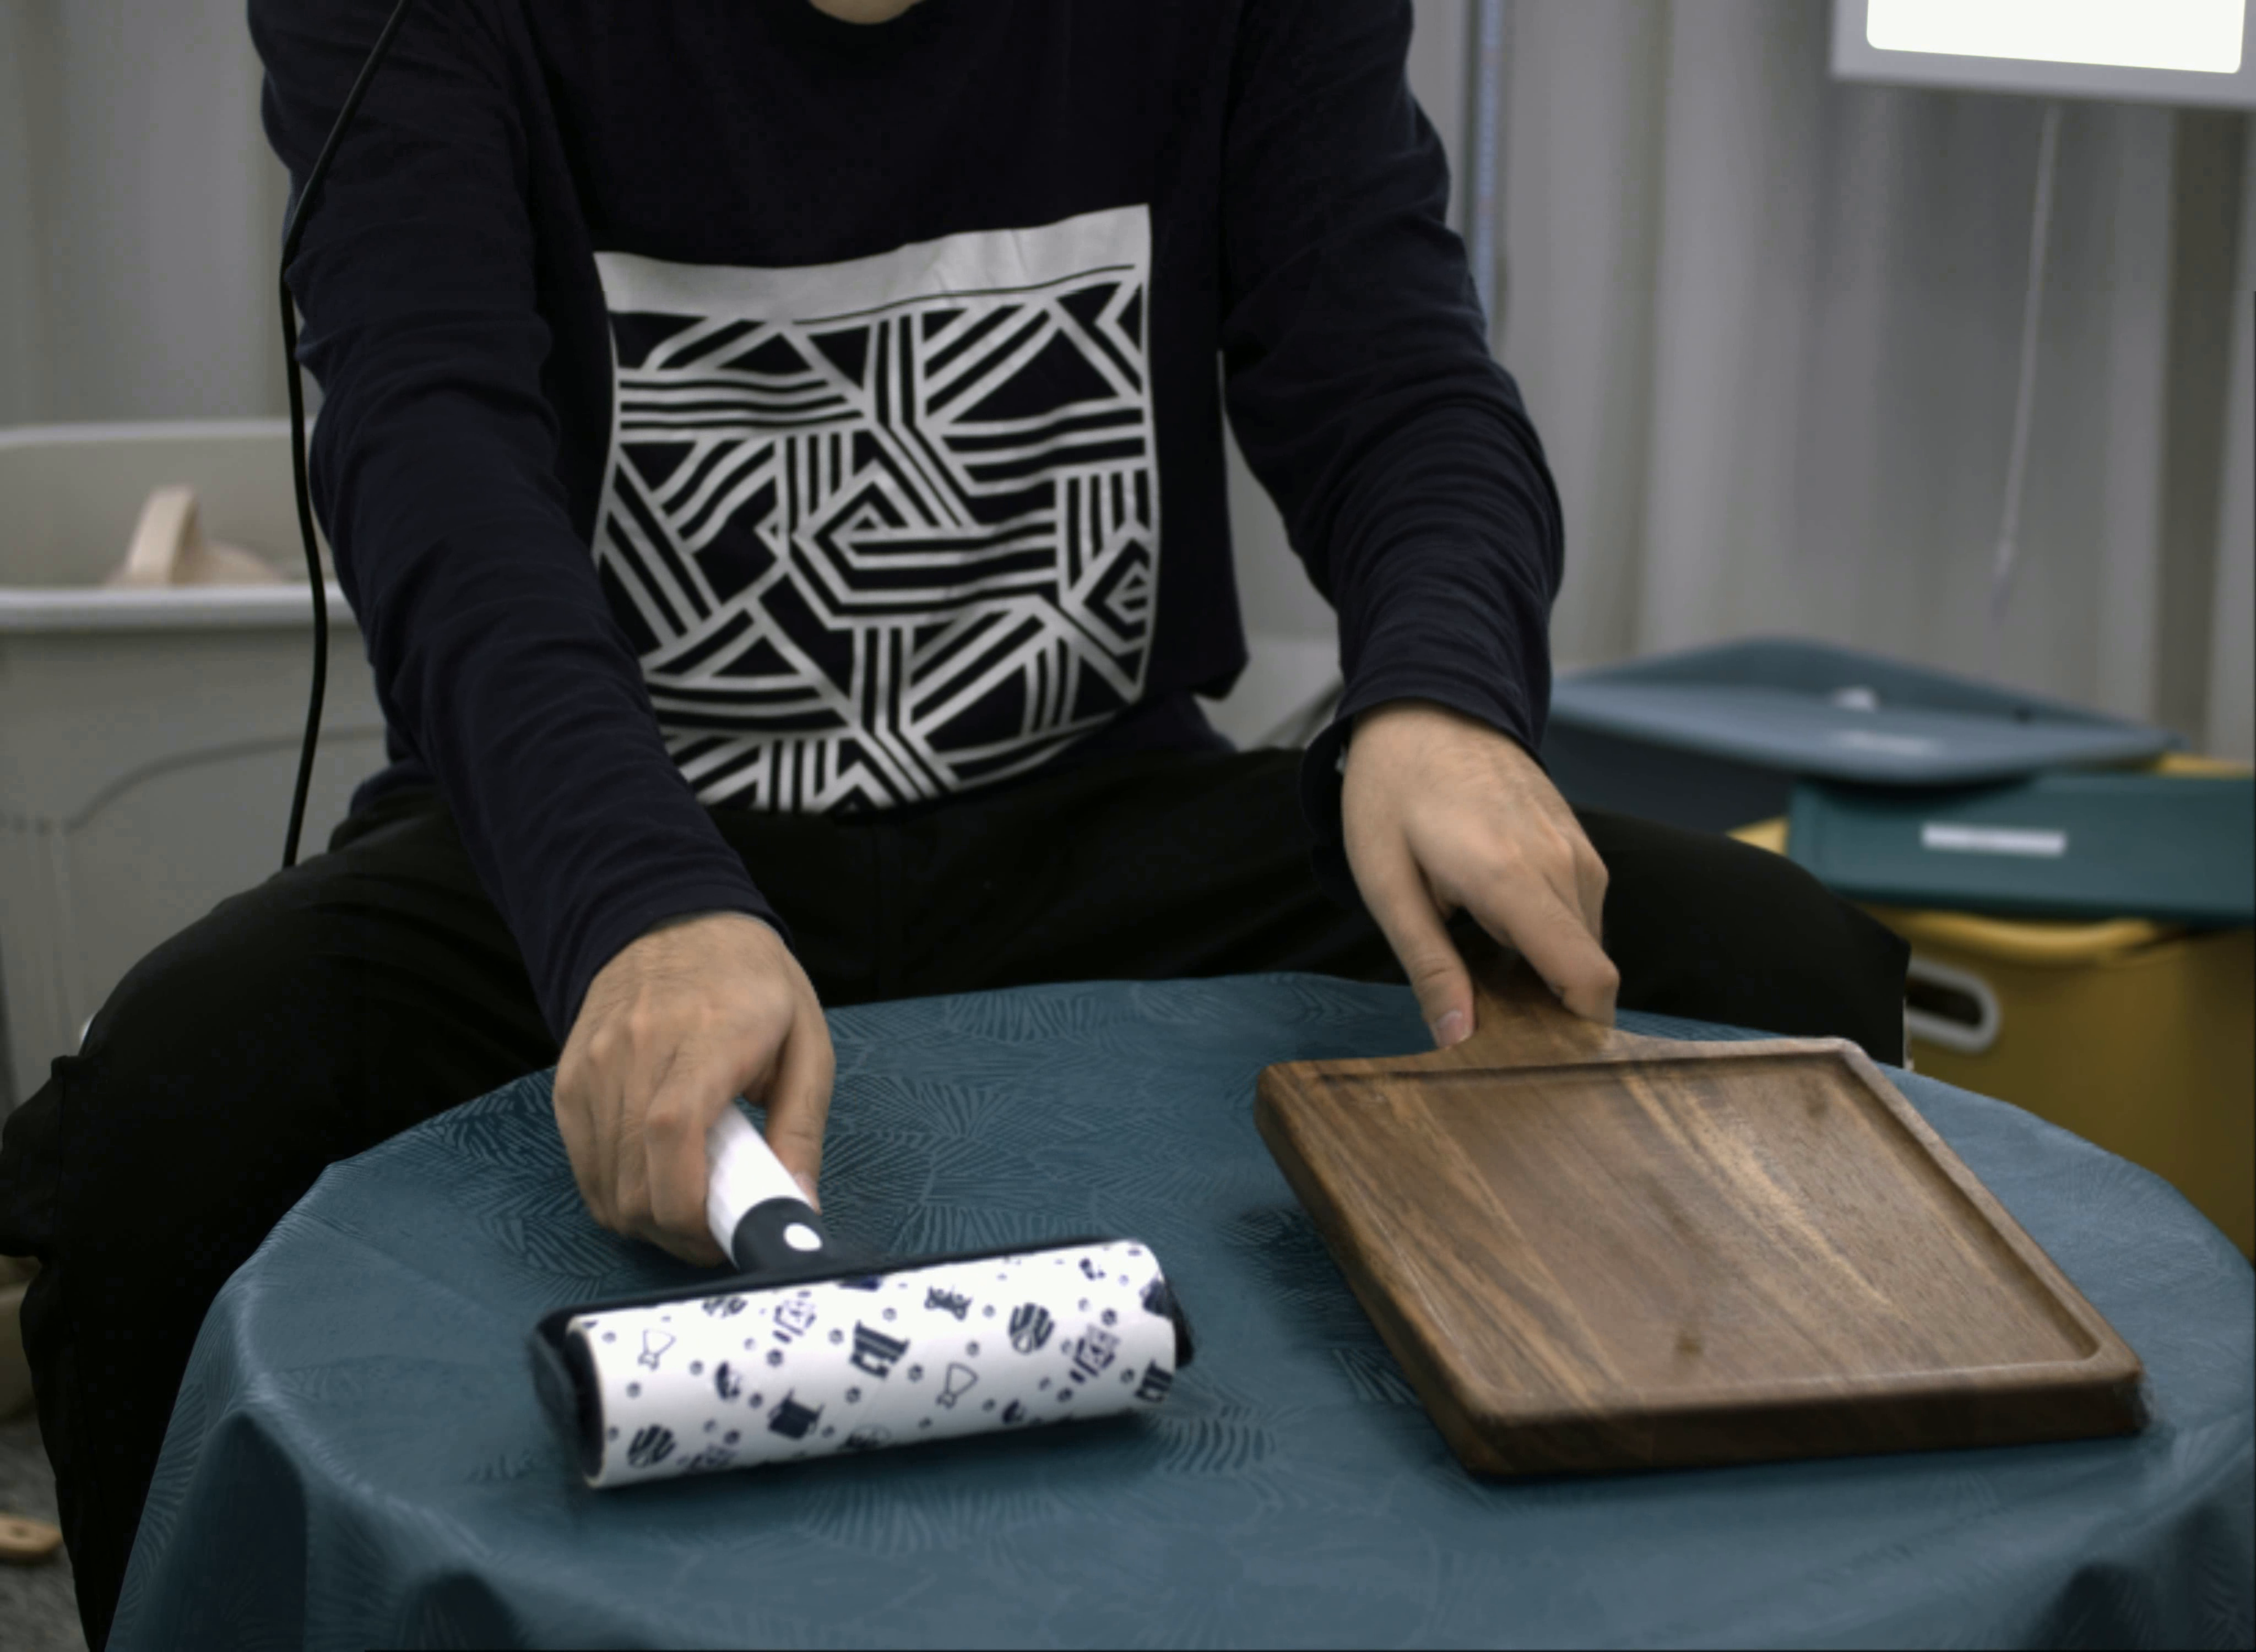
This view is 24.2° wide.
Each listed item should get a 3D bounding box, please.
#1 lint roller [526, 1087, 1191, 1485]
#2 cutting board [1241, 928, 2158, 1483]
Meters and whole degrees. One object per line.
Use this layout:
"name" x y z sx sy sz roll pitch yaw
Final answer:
"lint roller" -0.105 0.115 1.500 0.177 0.051 0.244 -7 19 -20
"cutting board" 0.147 0.102 1.570 0.201 0.023 0.348 -2 21 -14
